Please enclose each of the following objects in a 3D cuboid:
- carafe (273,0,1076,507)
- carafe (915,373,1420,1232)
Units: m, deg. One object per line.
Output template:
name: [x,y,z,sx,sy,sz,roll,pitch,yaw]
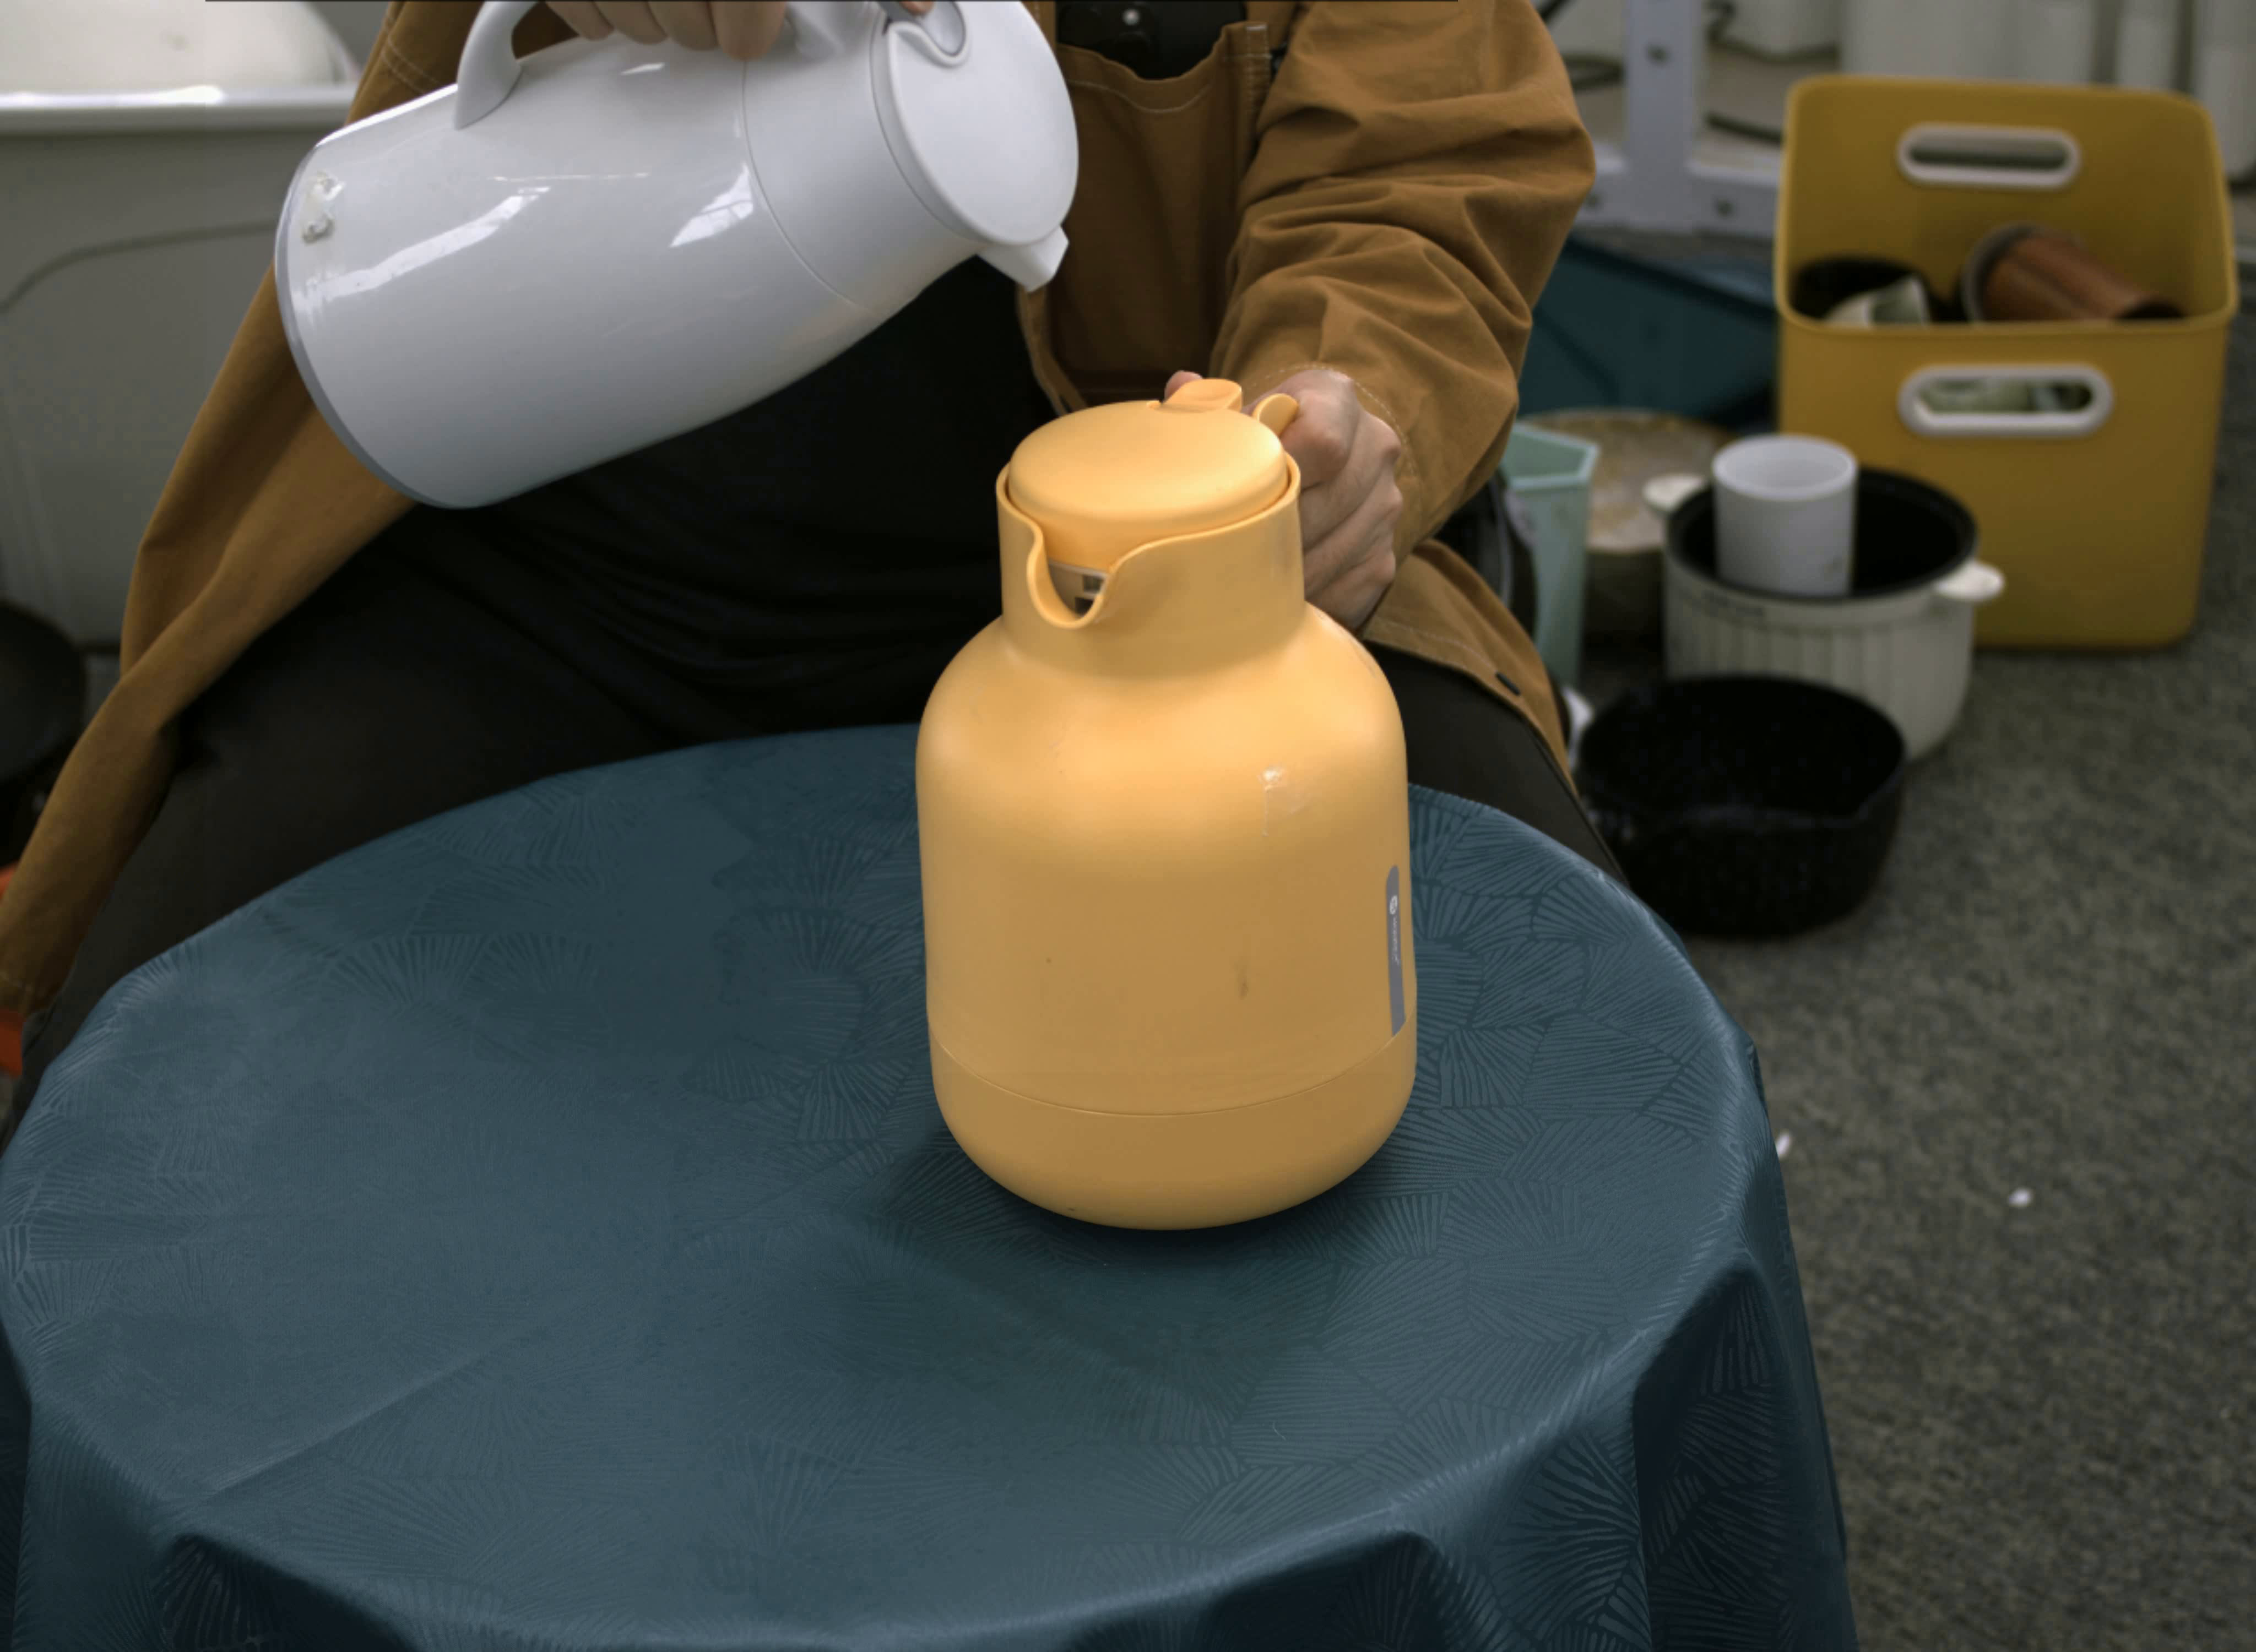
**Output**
carafe: [-0.147,-0.209,1.773,0.245,0.166,0.135,-17,35,33]
carafe: [0.020,-0.017,1.846,0.162,0.257,0.206,10,29,22]
